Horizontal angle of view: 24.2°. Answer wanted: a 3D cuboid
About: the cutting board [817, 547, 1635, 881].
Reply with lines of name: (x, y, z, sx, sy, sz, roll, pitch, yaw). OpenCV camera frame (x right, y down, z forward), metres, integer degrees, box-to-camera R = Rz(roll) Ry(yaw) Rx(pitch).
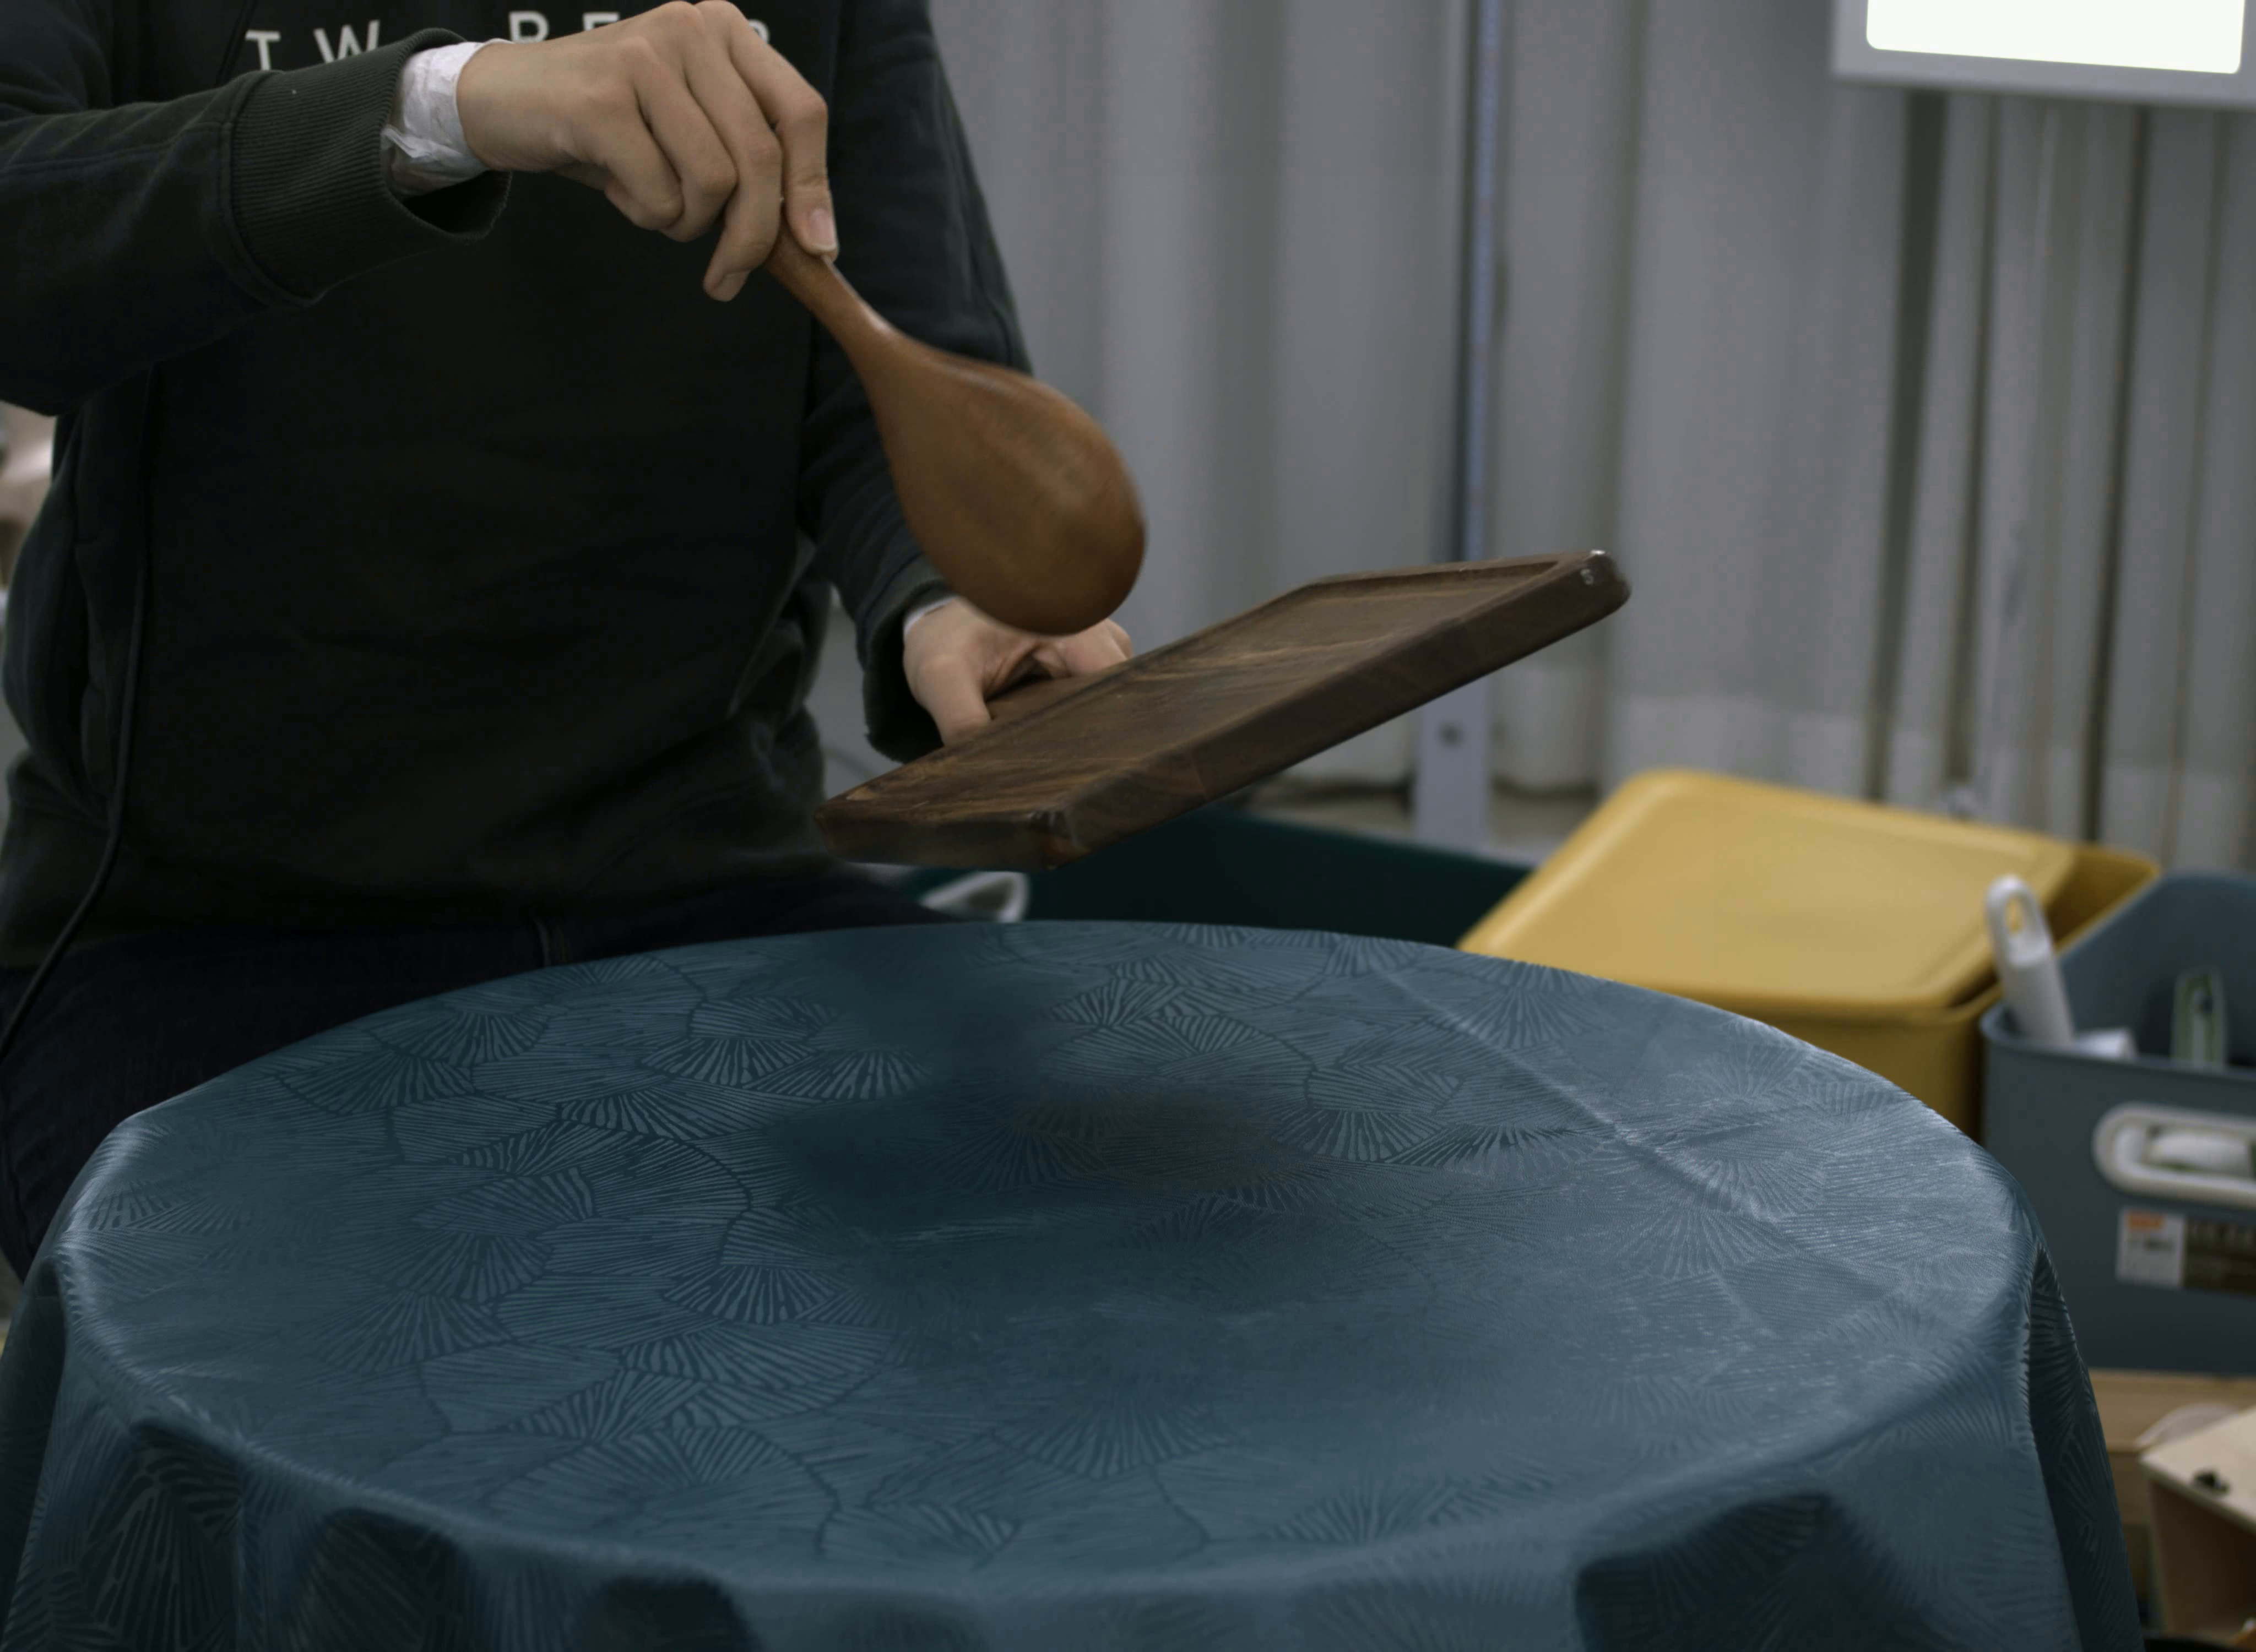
cutting board: (0.008, -0.034, 1.666, 0.201, 0.023, 0.350, -26, 8, -17)

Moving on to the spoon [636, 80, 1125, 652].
spoon: (-0.080, -0.143, 1.614, 0.215, 0.075, 0.017, 51, 33, 6)
